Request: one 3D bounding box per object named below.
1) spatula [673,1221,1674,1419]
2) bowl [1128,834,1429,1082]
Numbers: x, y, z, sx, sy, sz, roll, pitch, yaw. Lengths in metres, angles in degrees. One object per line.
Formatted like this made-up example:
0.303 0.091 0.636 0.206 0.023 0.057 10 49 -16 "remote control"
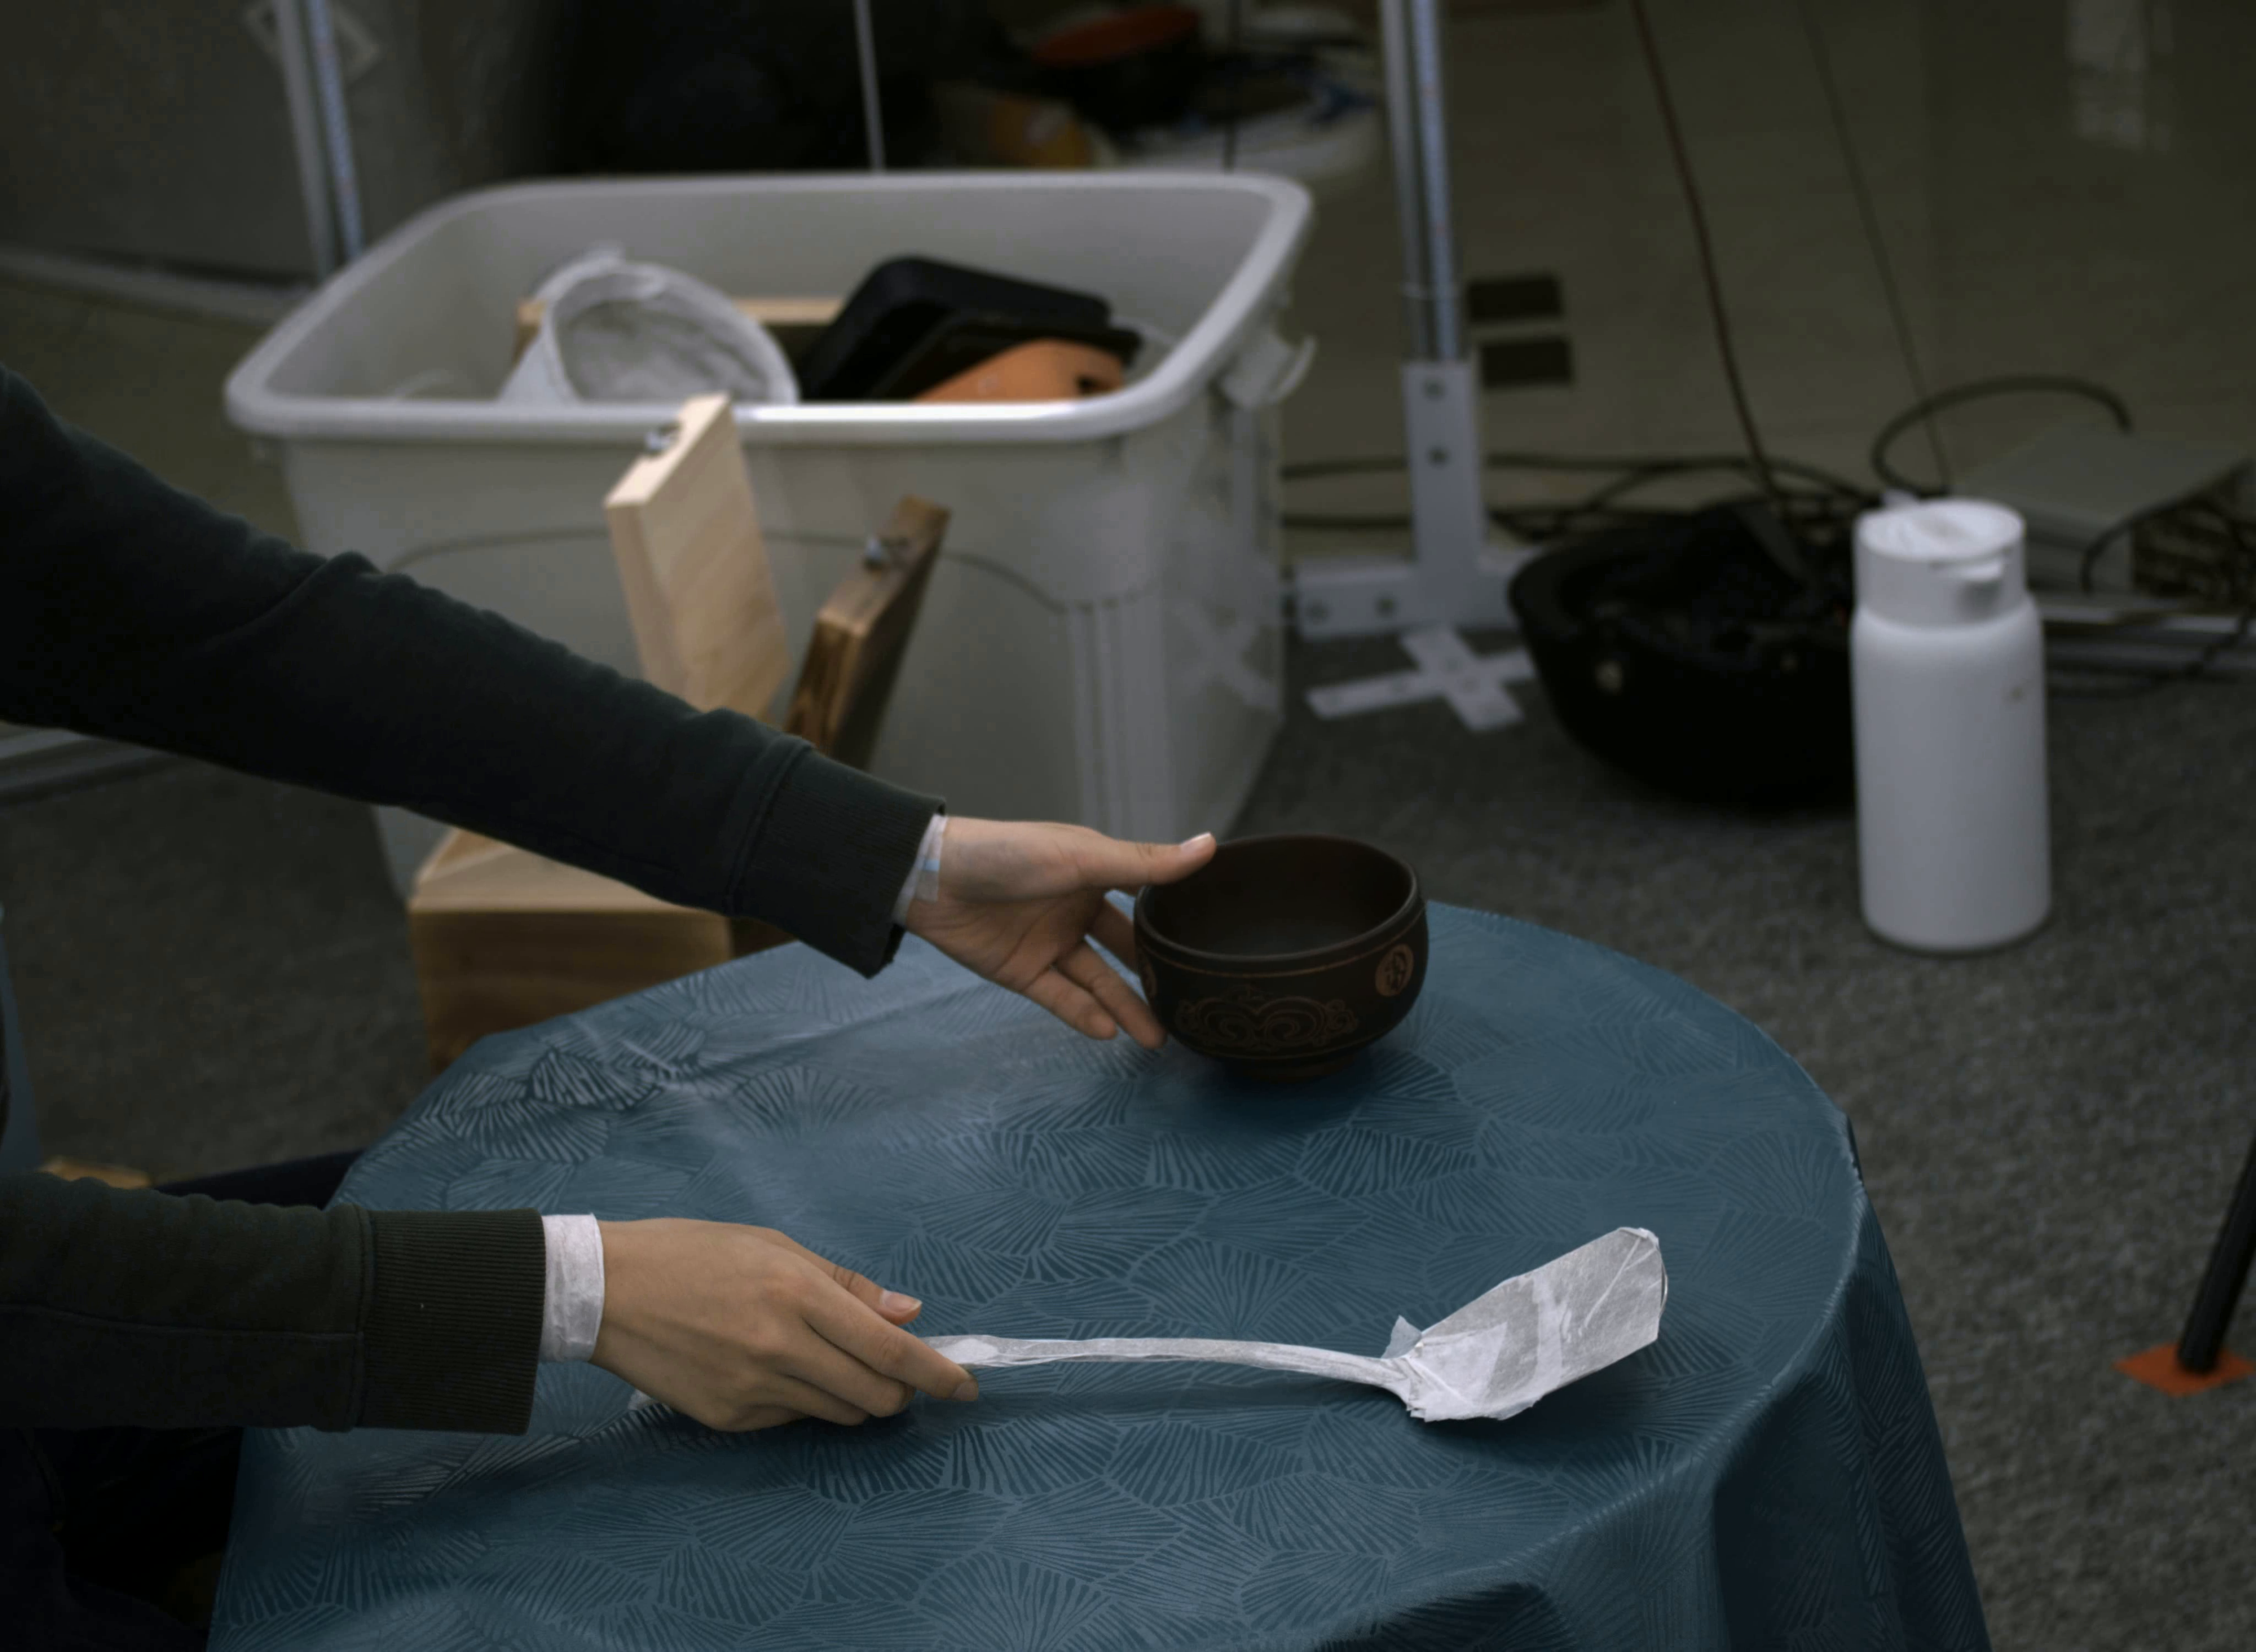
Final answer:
0.011 0.181 2.010 0.364 0.045 0.097 -1 27 8 "spatula"
0.061 0.058 2.228 0.118 0.071 0.116 -7 24 3 "bowl"
